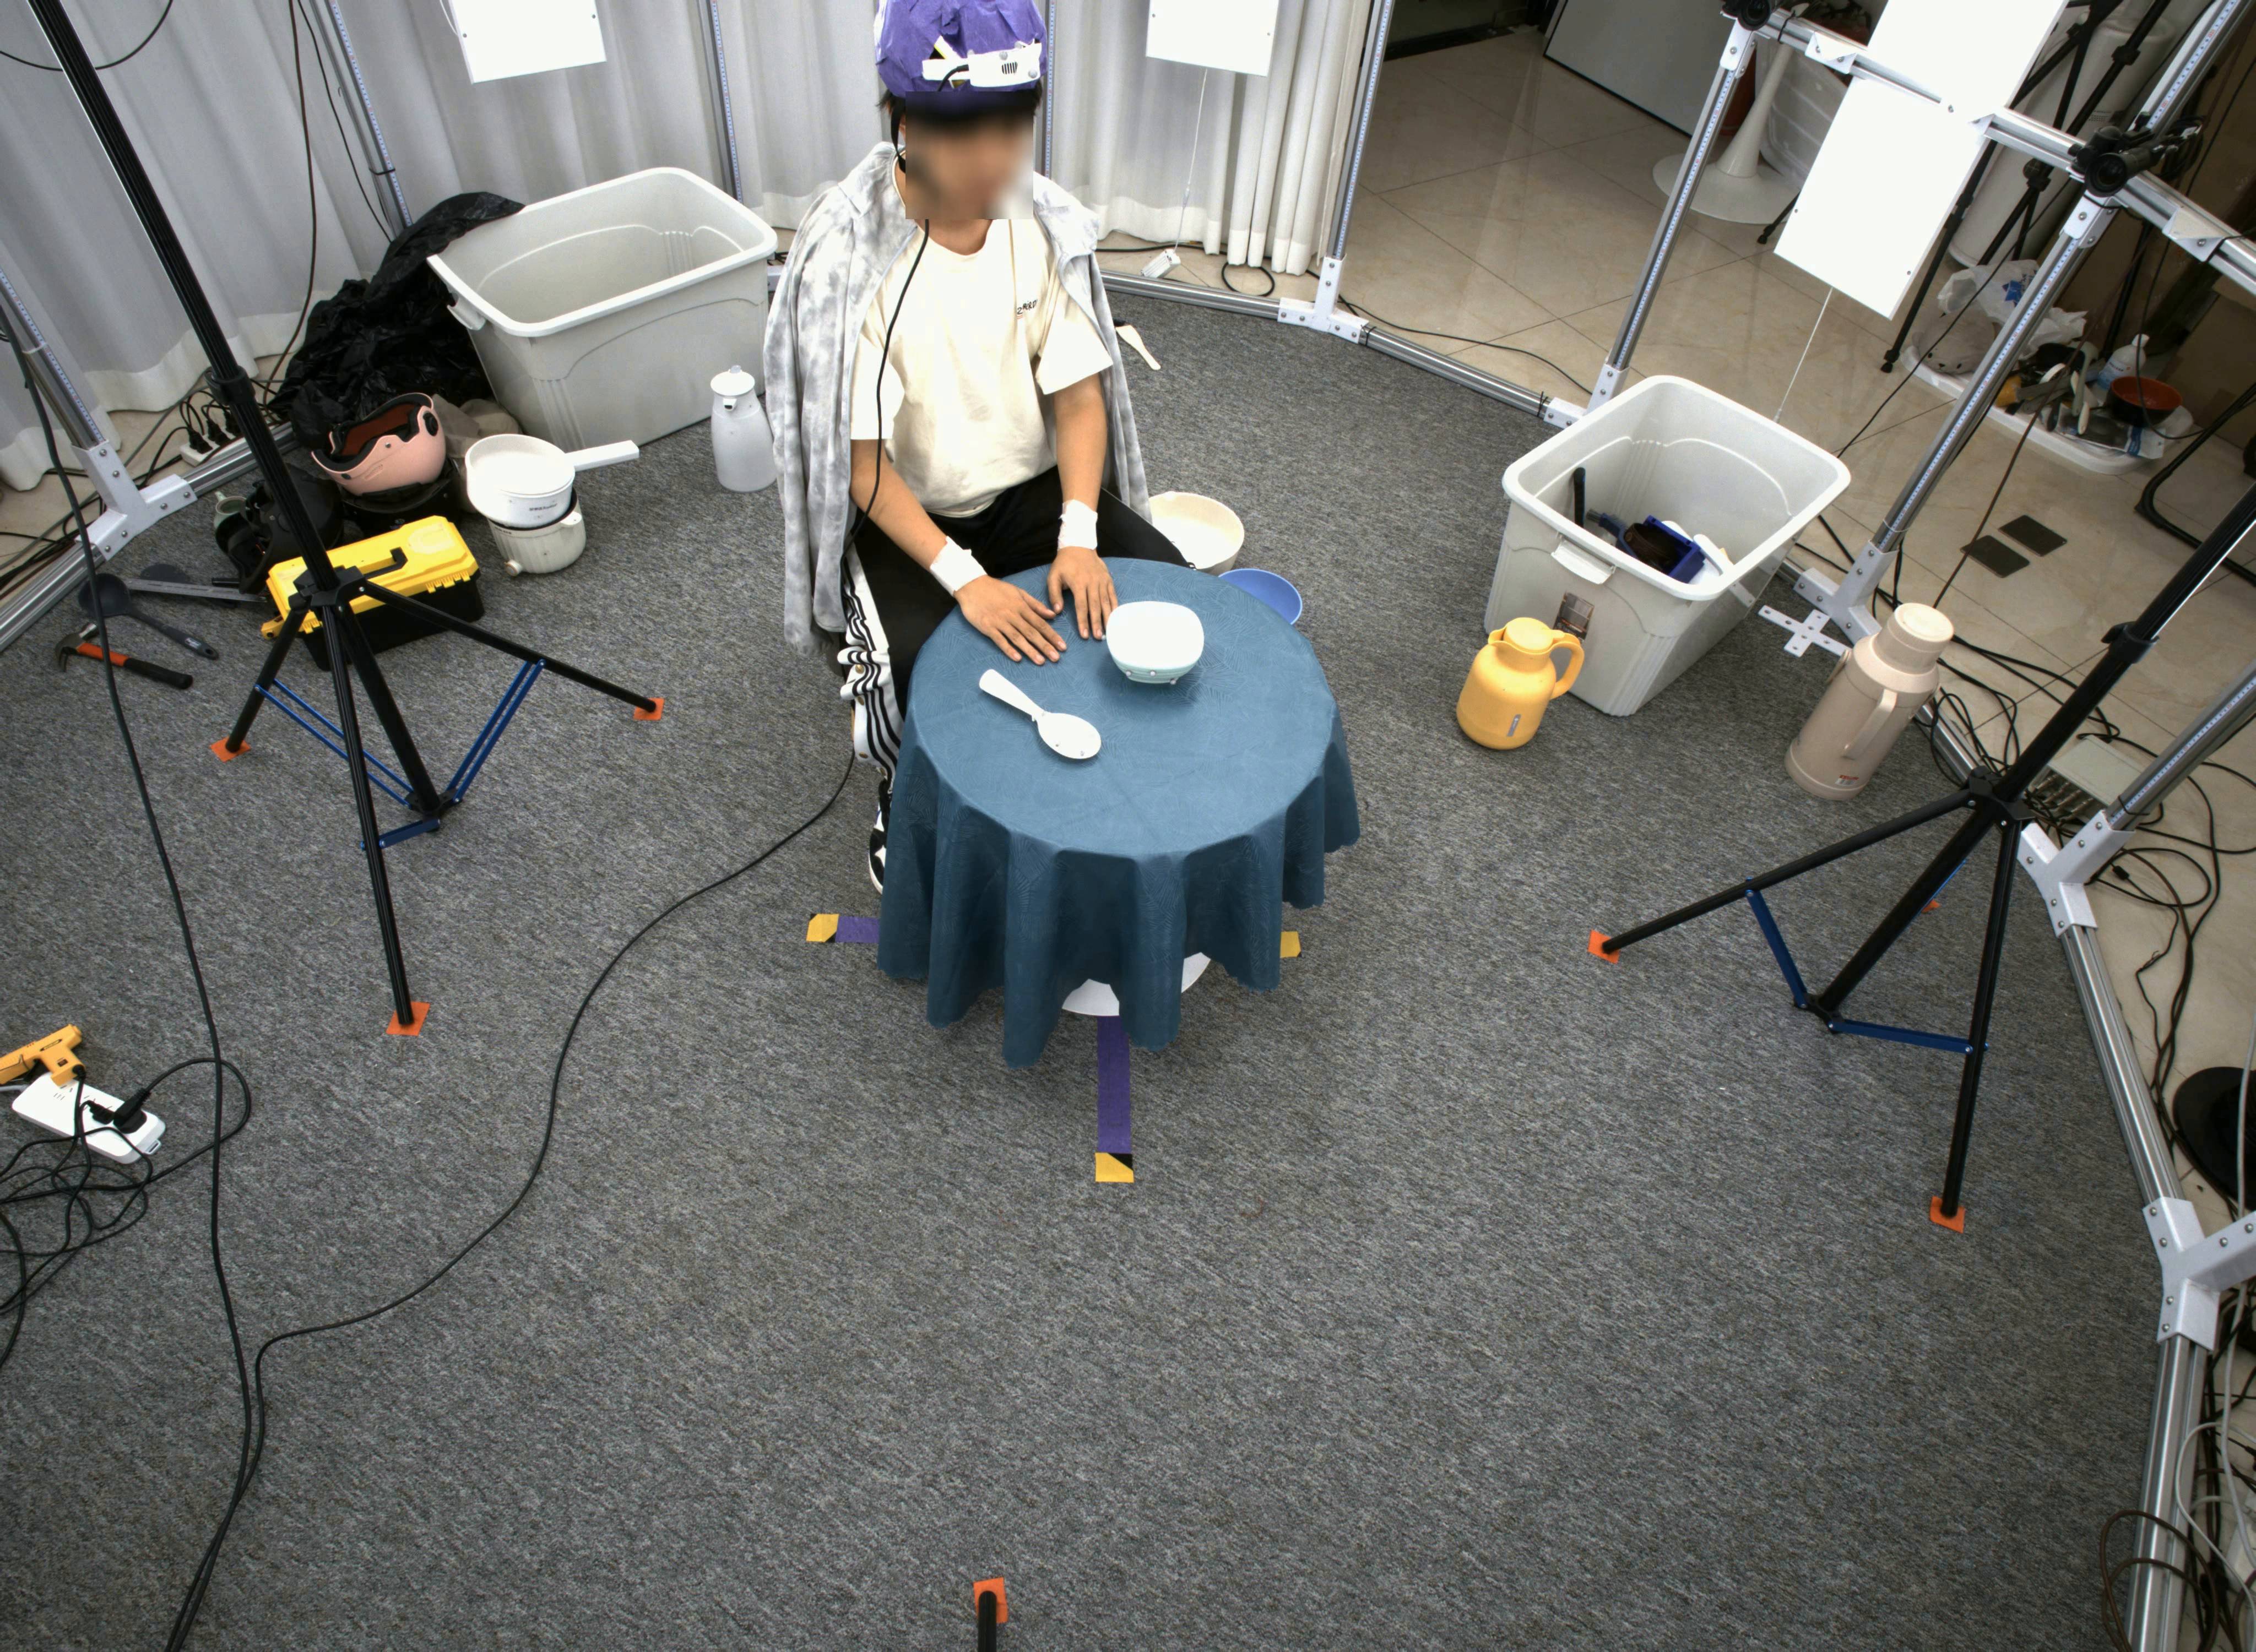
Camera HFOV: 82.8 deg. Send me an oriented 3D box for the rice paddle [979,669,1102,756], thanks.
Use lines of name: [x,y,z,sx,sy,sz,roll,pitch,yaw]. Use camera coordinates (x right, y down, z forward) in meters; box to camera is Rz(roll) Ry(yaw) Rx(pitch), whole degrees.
rice paddle: [-0.120,-0.156,1.768,0.208,0.029,0.069,34,57,24]

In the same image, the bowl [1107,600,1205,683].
bowl: [0.039,-0.257,1.848,0.151,0.057,0.155,0,52,-1]
